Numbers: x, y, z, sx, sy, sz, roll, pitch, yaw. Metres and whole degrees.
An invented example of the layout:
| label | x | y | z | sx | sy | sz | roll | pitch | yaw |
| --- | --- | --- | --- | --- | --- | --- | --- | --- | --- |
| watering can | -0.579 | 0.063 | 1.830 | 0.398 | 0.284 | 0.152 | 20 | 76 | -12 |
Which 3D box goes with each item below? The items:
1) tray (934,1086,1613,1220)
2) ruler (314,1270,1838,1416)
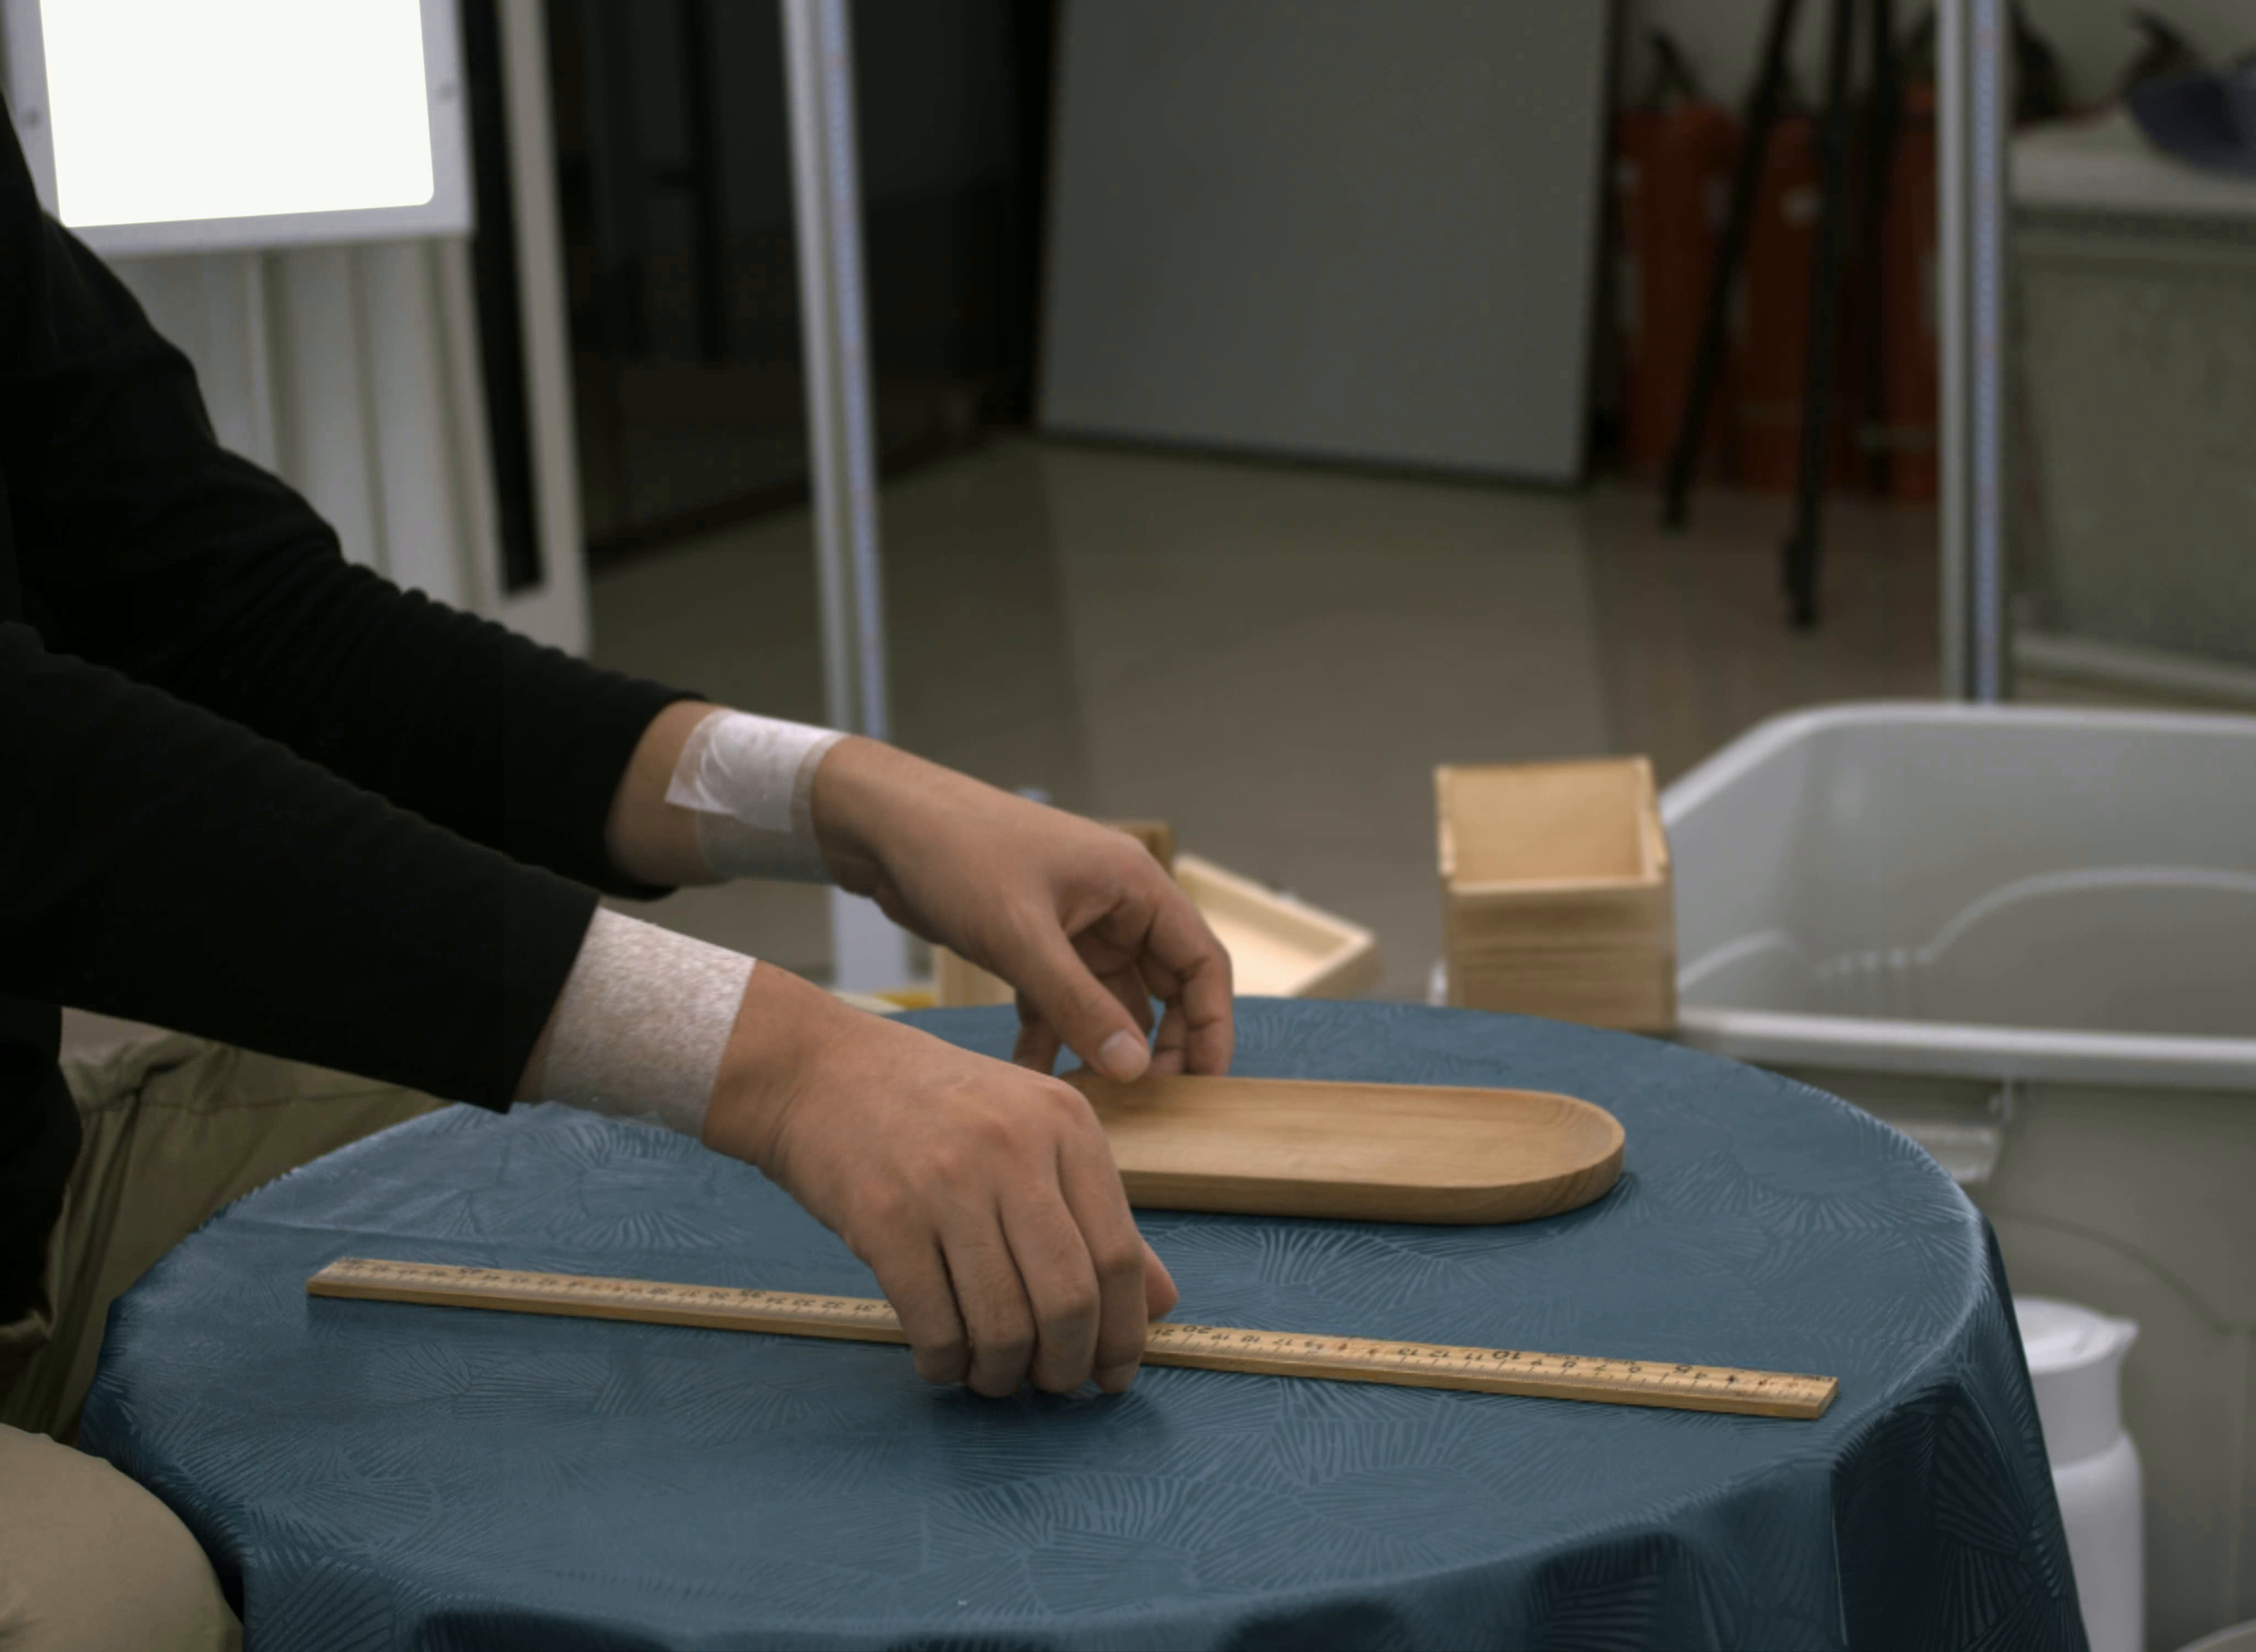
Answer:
| label | x | y | z | sx | sy | sz | roll | pitch | yaw |
| --- | --- | --- | --- | --- | --- | --- | --- | --- | --- |
| tray | 0.047 | 0.108 | 1.776 | 0.230 | 0.020 | 0.101 | -1 | 13 | 19 |
| ruler | -0.027 | 0.154 | 1.633 | 0.501 | 0.006 | 0.026 | 2 | 12 | 24 |
